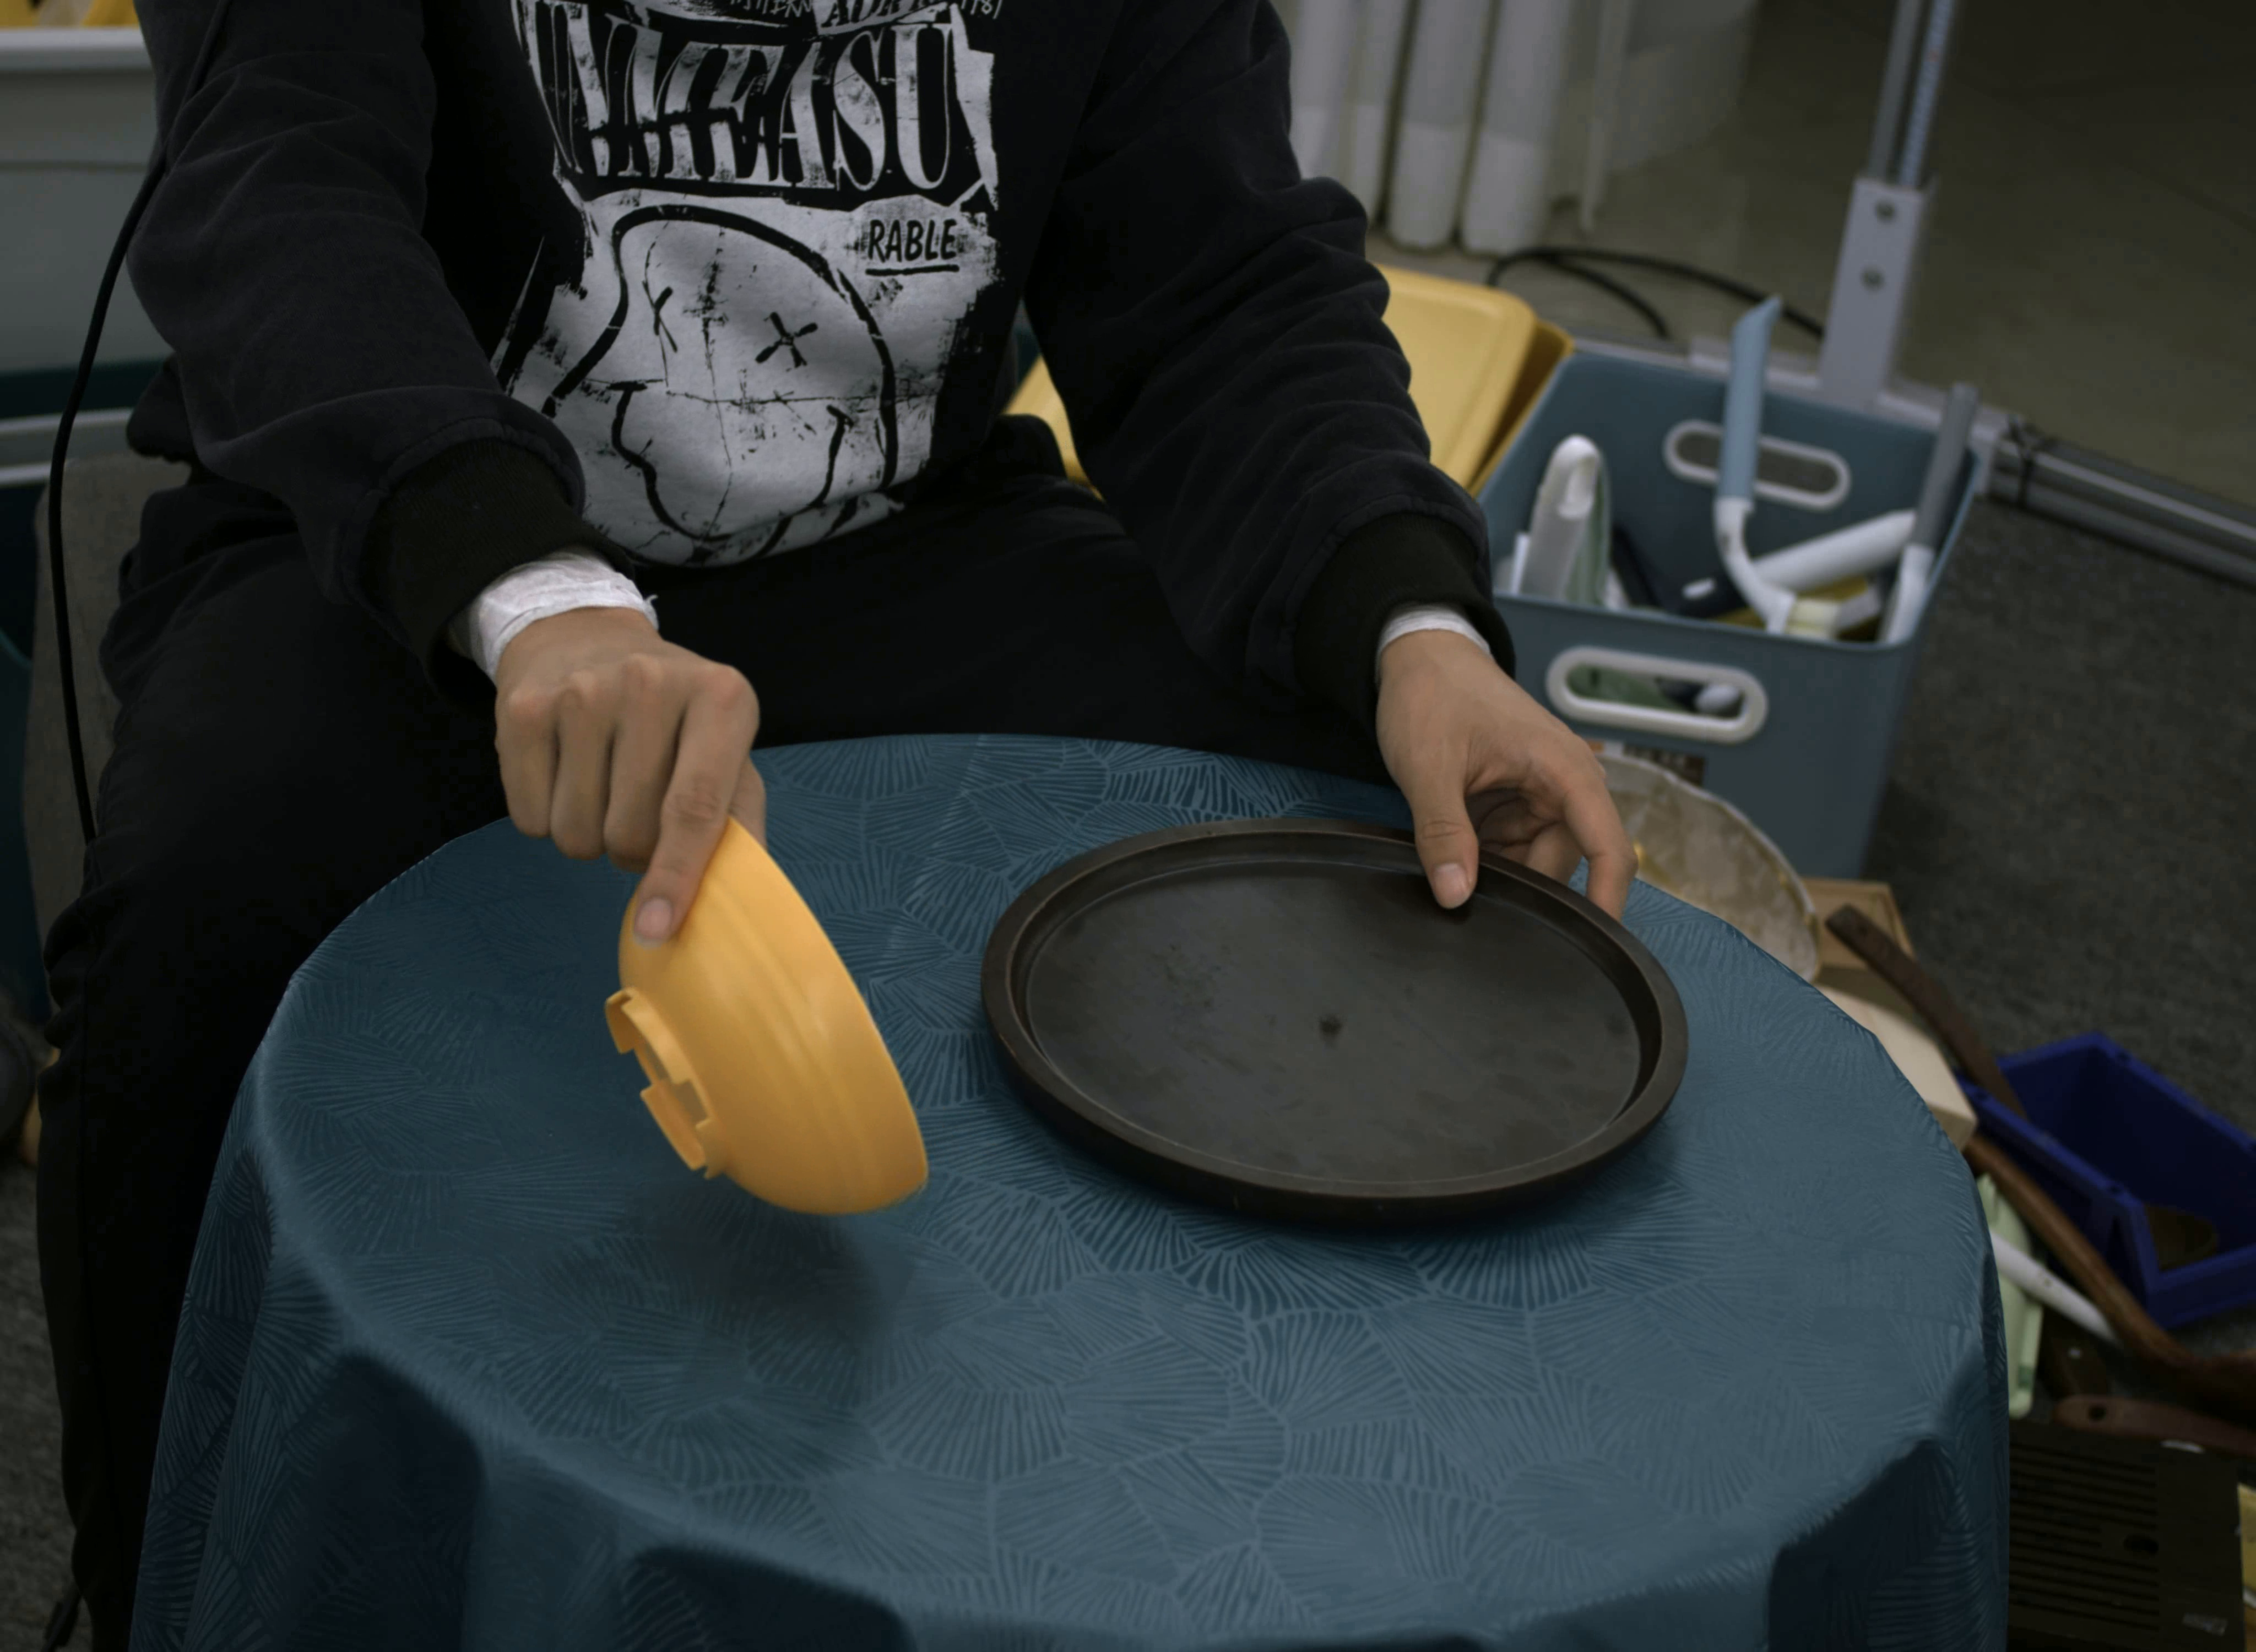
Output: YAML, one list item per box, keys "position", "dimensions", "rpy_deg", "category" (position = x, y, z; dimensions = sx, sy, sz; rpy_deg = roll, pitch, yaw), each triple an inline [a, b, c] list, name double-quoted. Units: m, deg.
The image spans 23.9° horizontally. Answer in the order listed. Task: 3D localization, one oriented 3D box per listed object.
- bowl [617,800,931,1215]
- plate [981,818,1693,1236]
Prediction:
- position: [-0.123, 0.069, 1.703]
  dimensions: [0.060, 0.144, 0.146]
  rpy_deg: [-26, 37, -15]
  category: "bowl"
- position: [0.074, 0.070, 1.886]
  dimensions: [0.254, 0.029, 0.256]
  rpy_deg: [2, 30, -2]
  category: "plate"
